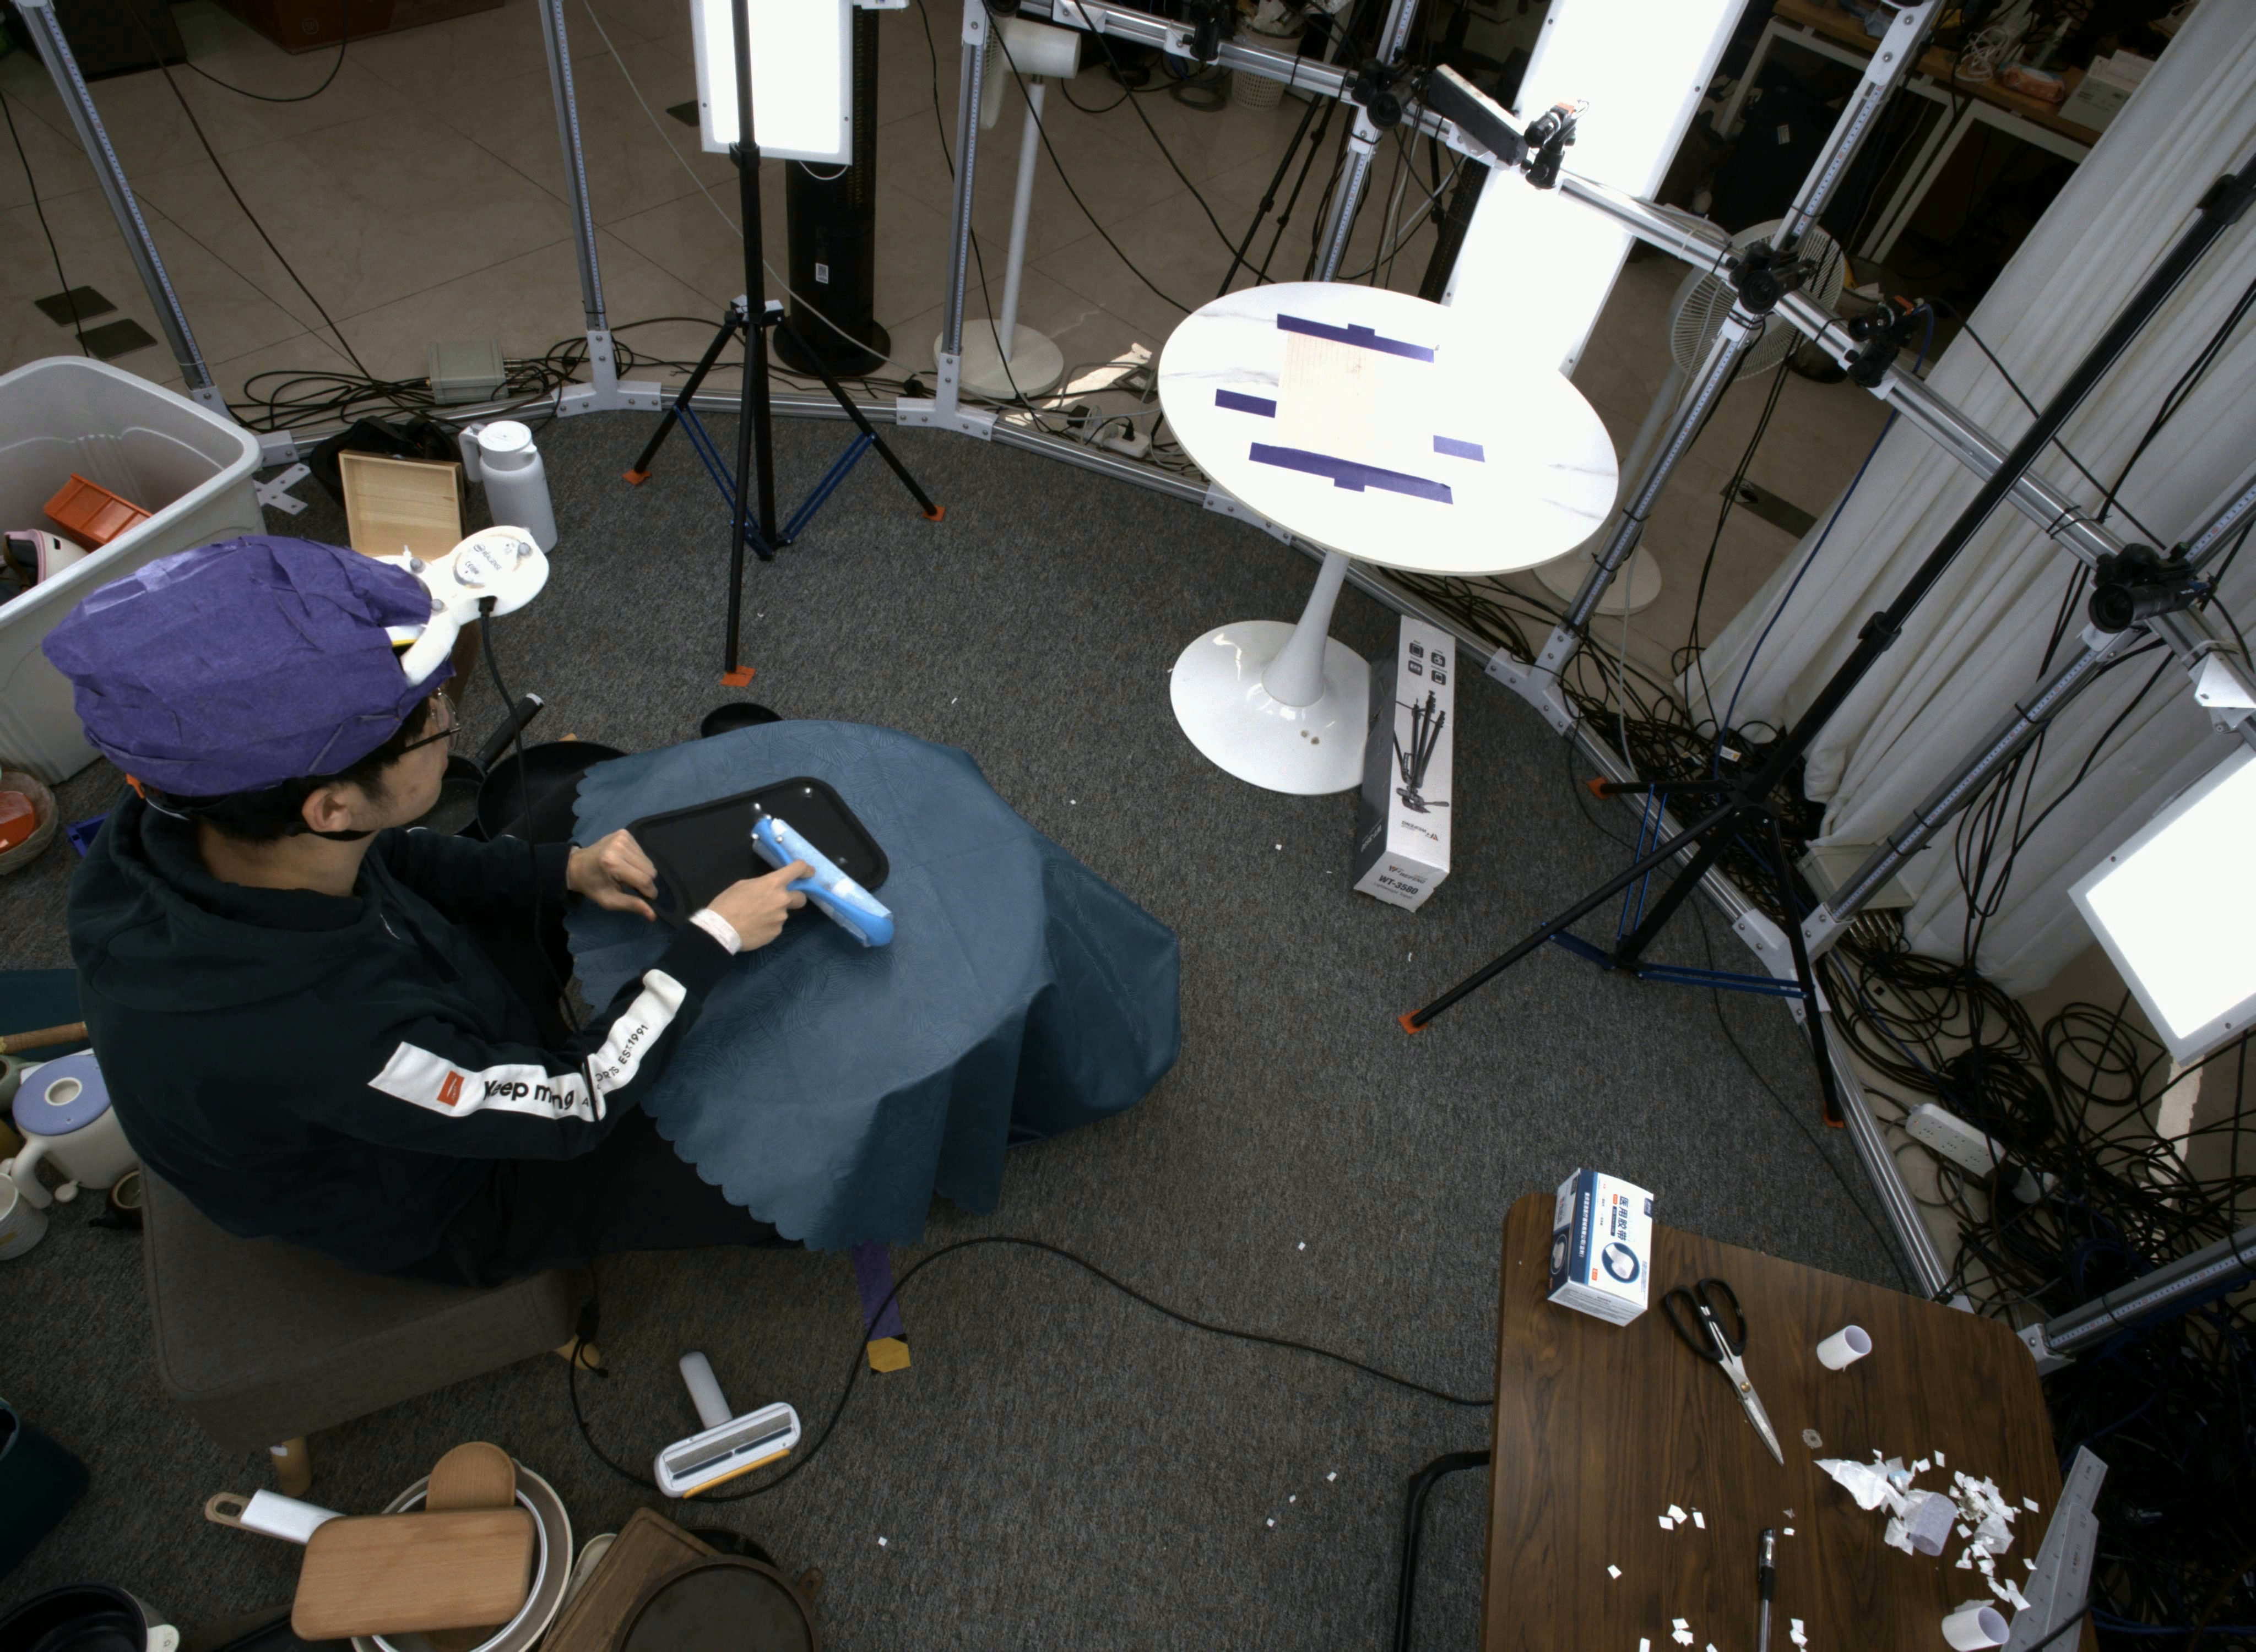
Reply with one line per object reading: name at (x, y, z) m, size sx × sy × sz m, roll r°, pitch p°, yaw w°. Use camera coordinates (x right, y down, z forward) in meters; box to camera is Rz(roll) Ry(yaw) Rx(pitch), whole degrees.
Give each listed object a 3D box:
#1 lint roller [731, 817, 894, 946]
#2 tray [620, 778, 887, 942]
lint roller at (-0.407, 0.084, 1.577) m, size 0.226 × 0.068 × 0.180 m, roll 39°, pitch 28°, yaw 7°
tray at (-0.476, 0.036, 1.640) m, size 0.329 × 0.010 × 0.206 m, roll -20°, pitch 61°, yaw -43°
